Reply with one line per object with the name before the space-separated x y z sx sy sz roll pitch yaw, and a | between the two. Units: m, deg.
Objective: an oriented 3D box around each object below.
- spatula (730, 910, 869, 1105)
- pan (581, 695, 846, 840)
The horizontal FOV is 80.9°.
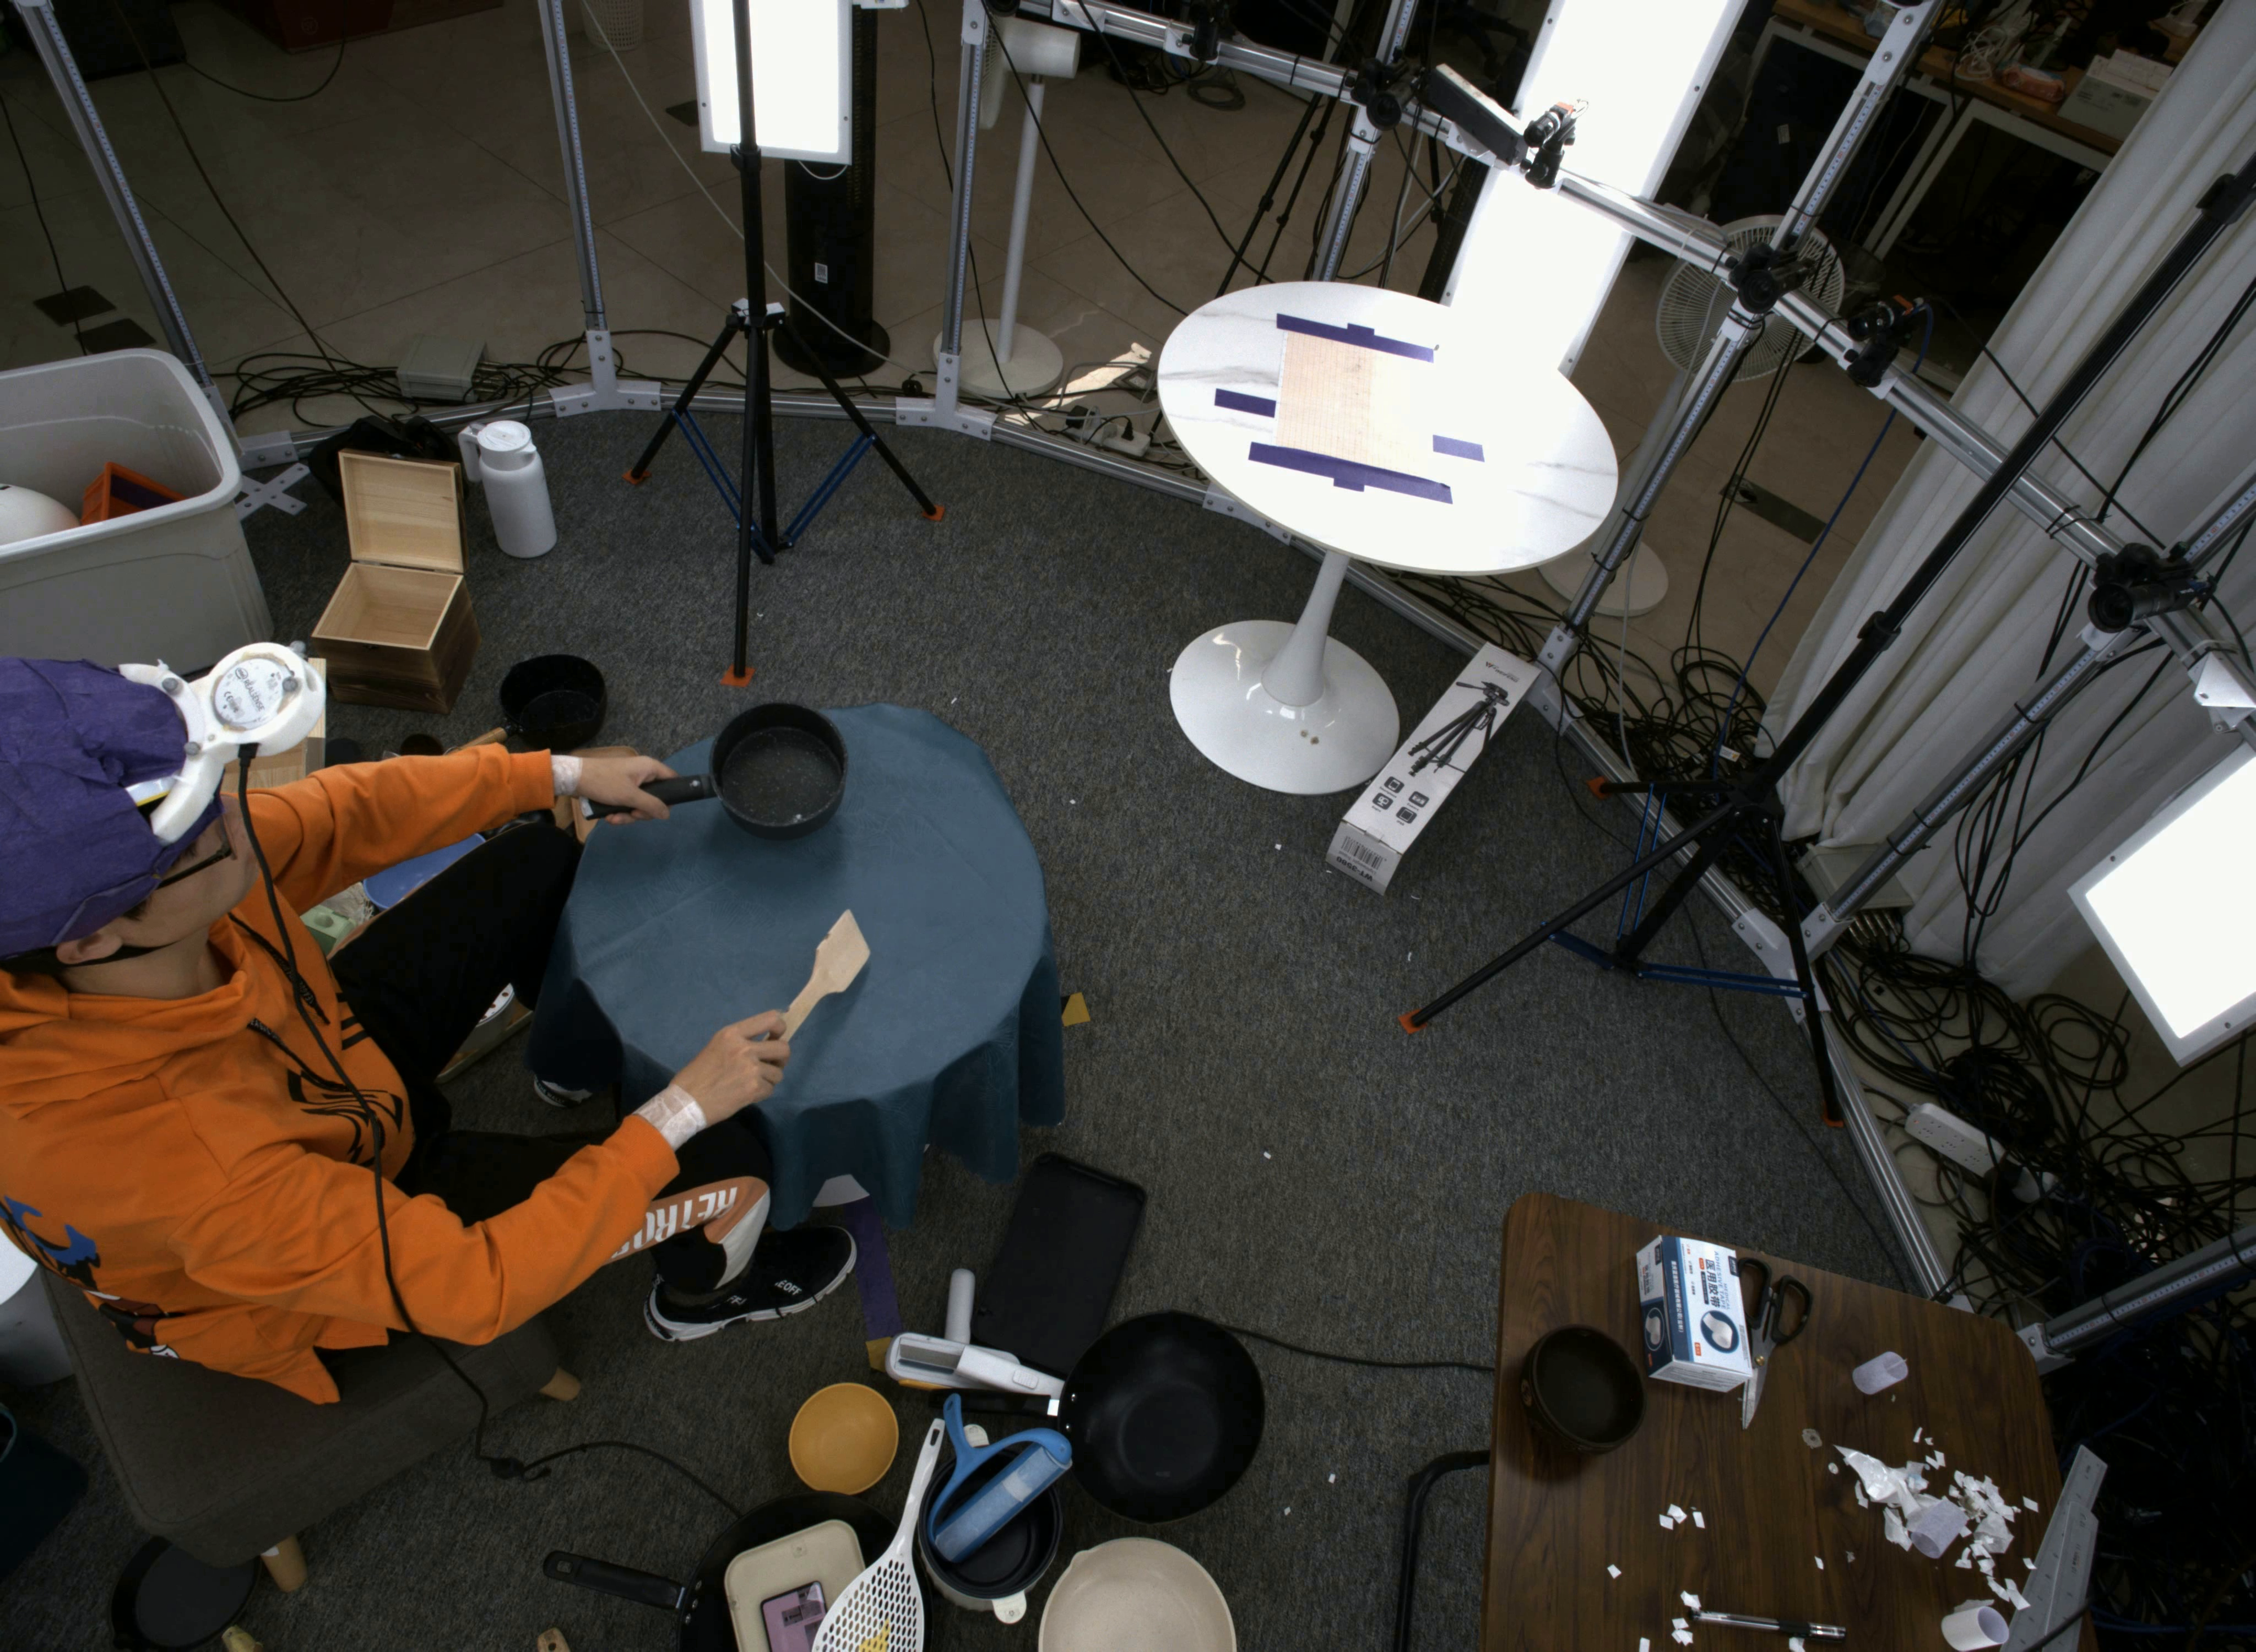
spatula | -0.370 0.203 1.469 0.010 0.075 0.290 -4 32 24
pan | -0.518 -0.056 1.615 0.329 0.087 0.171 -12 74 -19
